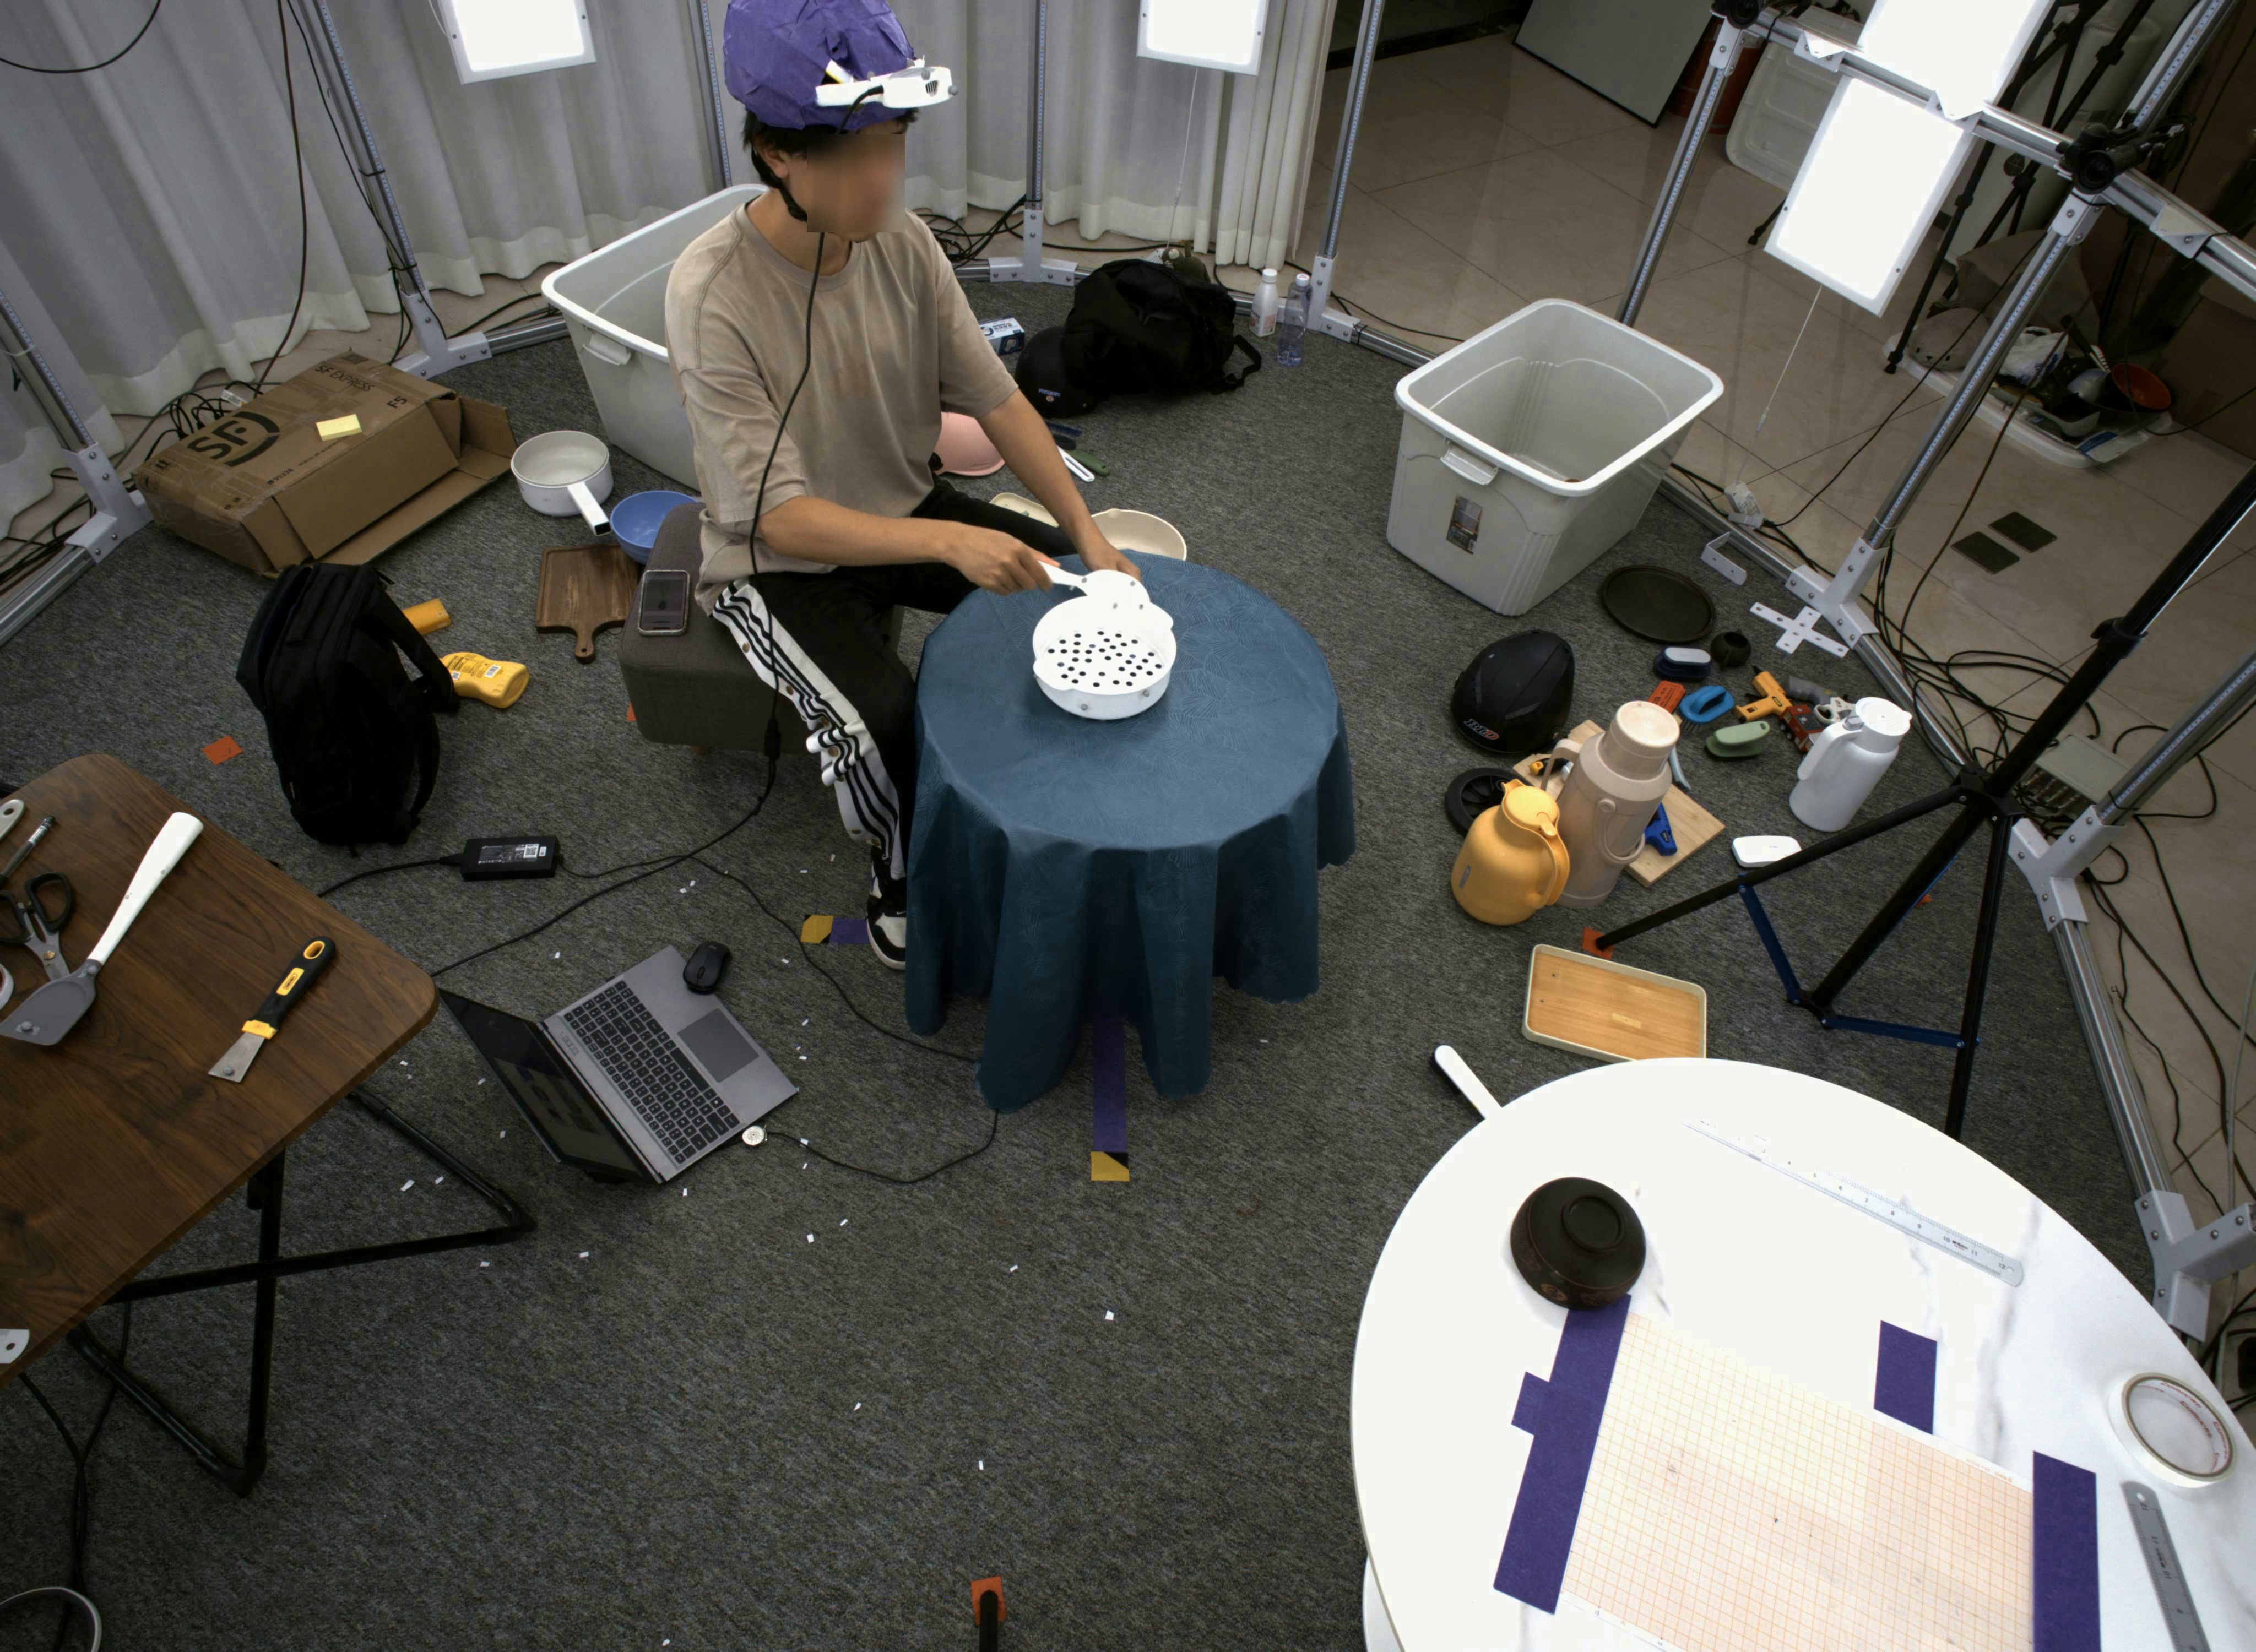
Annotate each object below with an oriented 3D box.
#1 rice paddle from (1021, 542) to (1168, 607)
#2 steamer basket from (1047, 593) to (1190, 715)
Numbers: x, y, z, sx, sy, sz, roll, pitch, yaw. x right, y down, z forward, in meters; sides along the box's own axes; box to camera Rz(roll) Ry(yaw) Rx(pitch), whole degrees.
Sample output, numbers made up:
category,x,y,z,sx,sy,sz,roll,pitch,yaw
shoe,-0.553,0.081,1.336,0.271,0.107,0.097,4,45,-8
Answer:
category,x,y,z,sx,sy,sz,roll,pitch,yaw
rice paddle,-0.039,-0.334,1.695,0.204,0.029,0.070,11,60,-20
steamer basket,-0.016,-0.243,1.822,0.232,0.067,0.205,-32,59,-32
